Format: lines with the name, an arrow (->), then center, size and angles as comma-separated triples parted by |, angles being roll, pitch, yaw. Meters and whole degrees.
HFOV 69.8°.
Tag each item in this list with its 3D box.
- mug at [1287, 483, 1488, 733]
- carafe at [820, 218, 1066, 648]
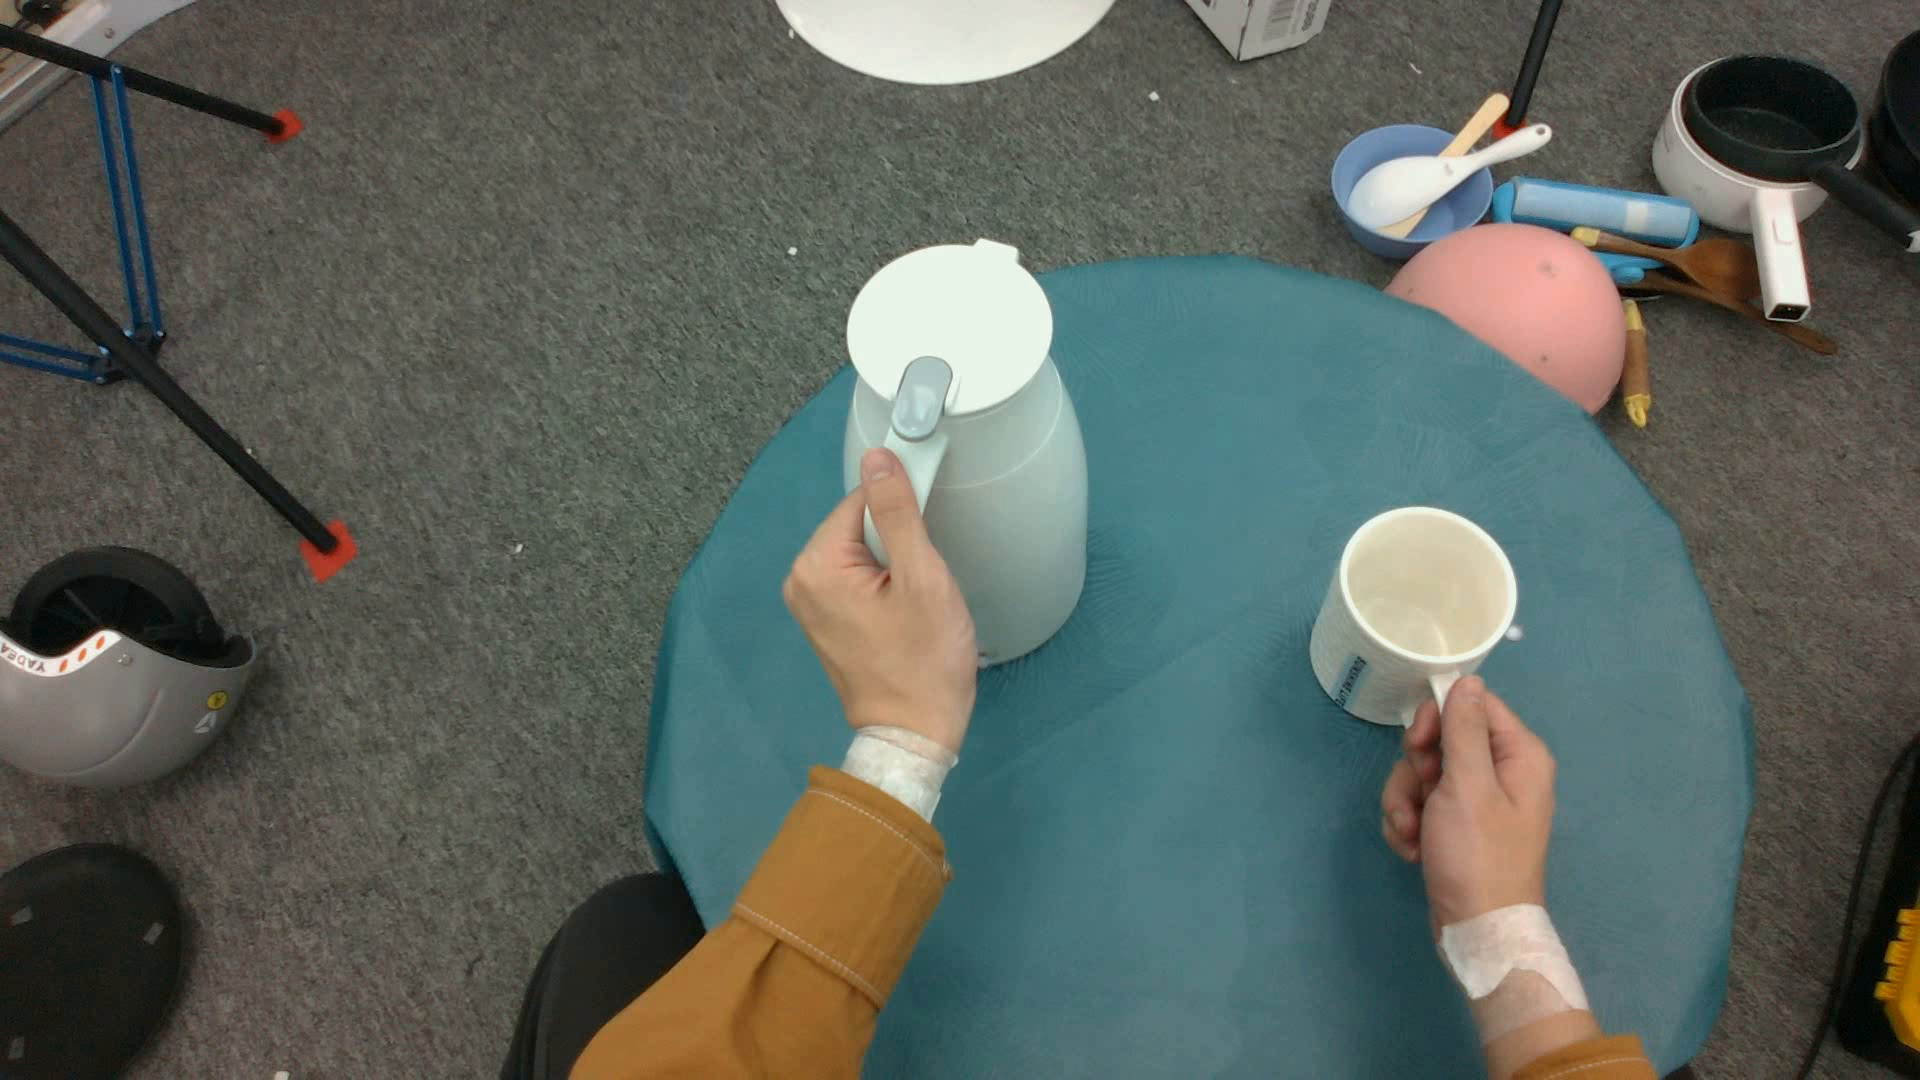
mug -> 0.228, 0.045, 0.731 | 0.085, 0.101, 0.118 | -10, 63, -3
carafe -> -0.014, -0.035, 0.701 | 0.132, 0.247, 0.168 | 16, 65, 9
